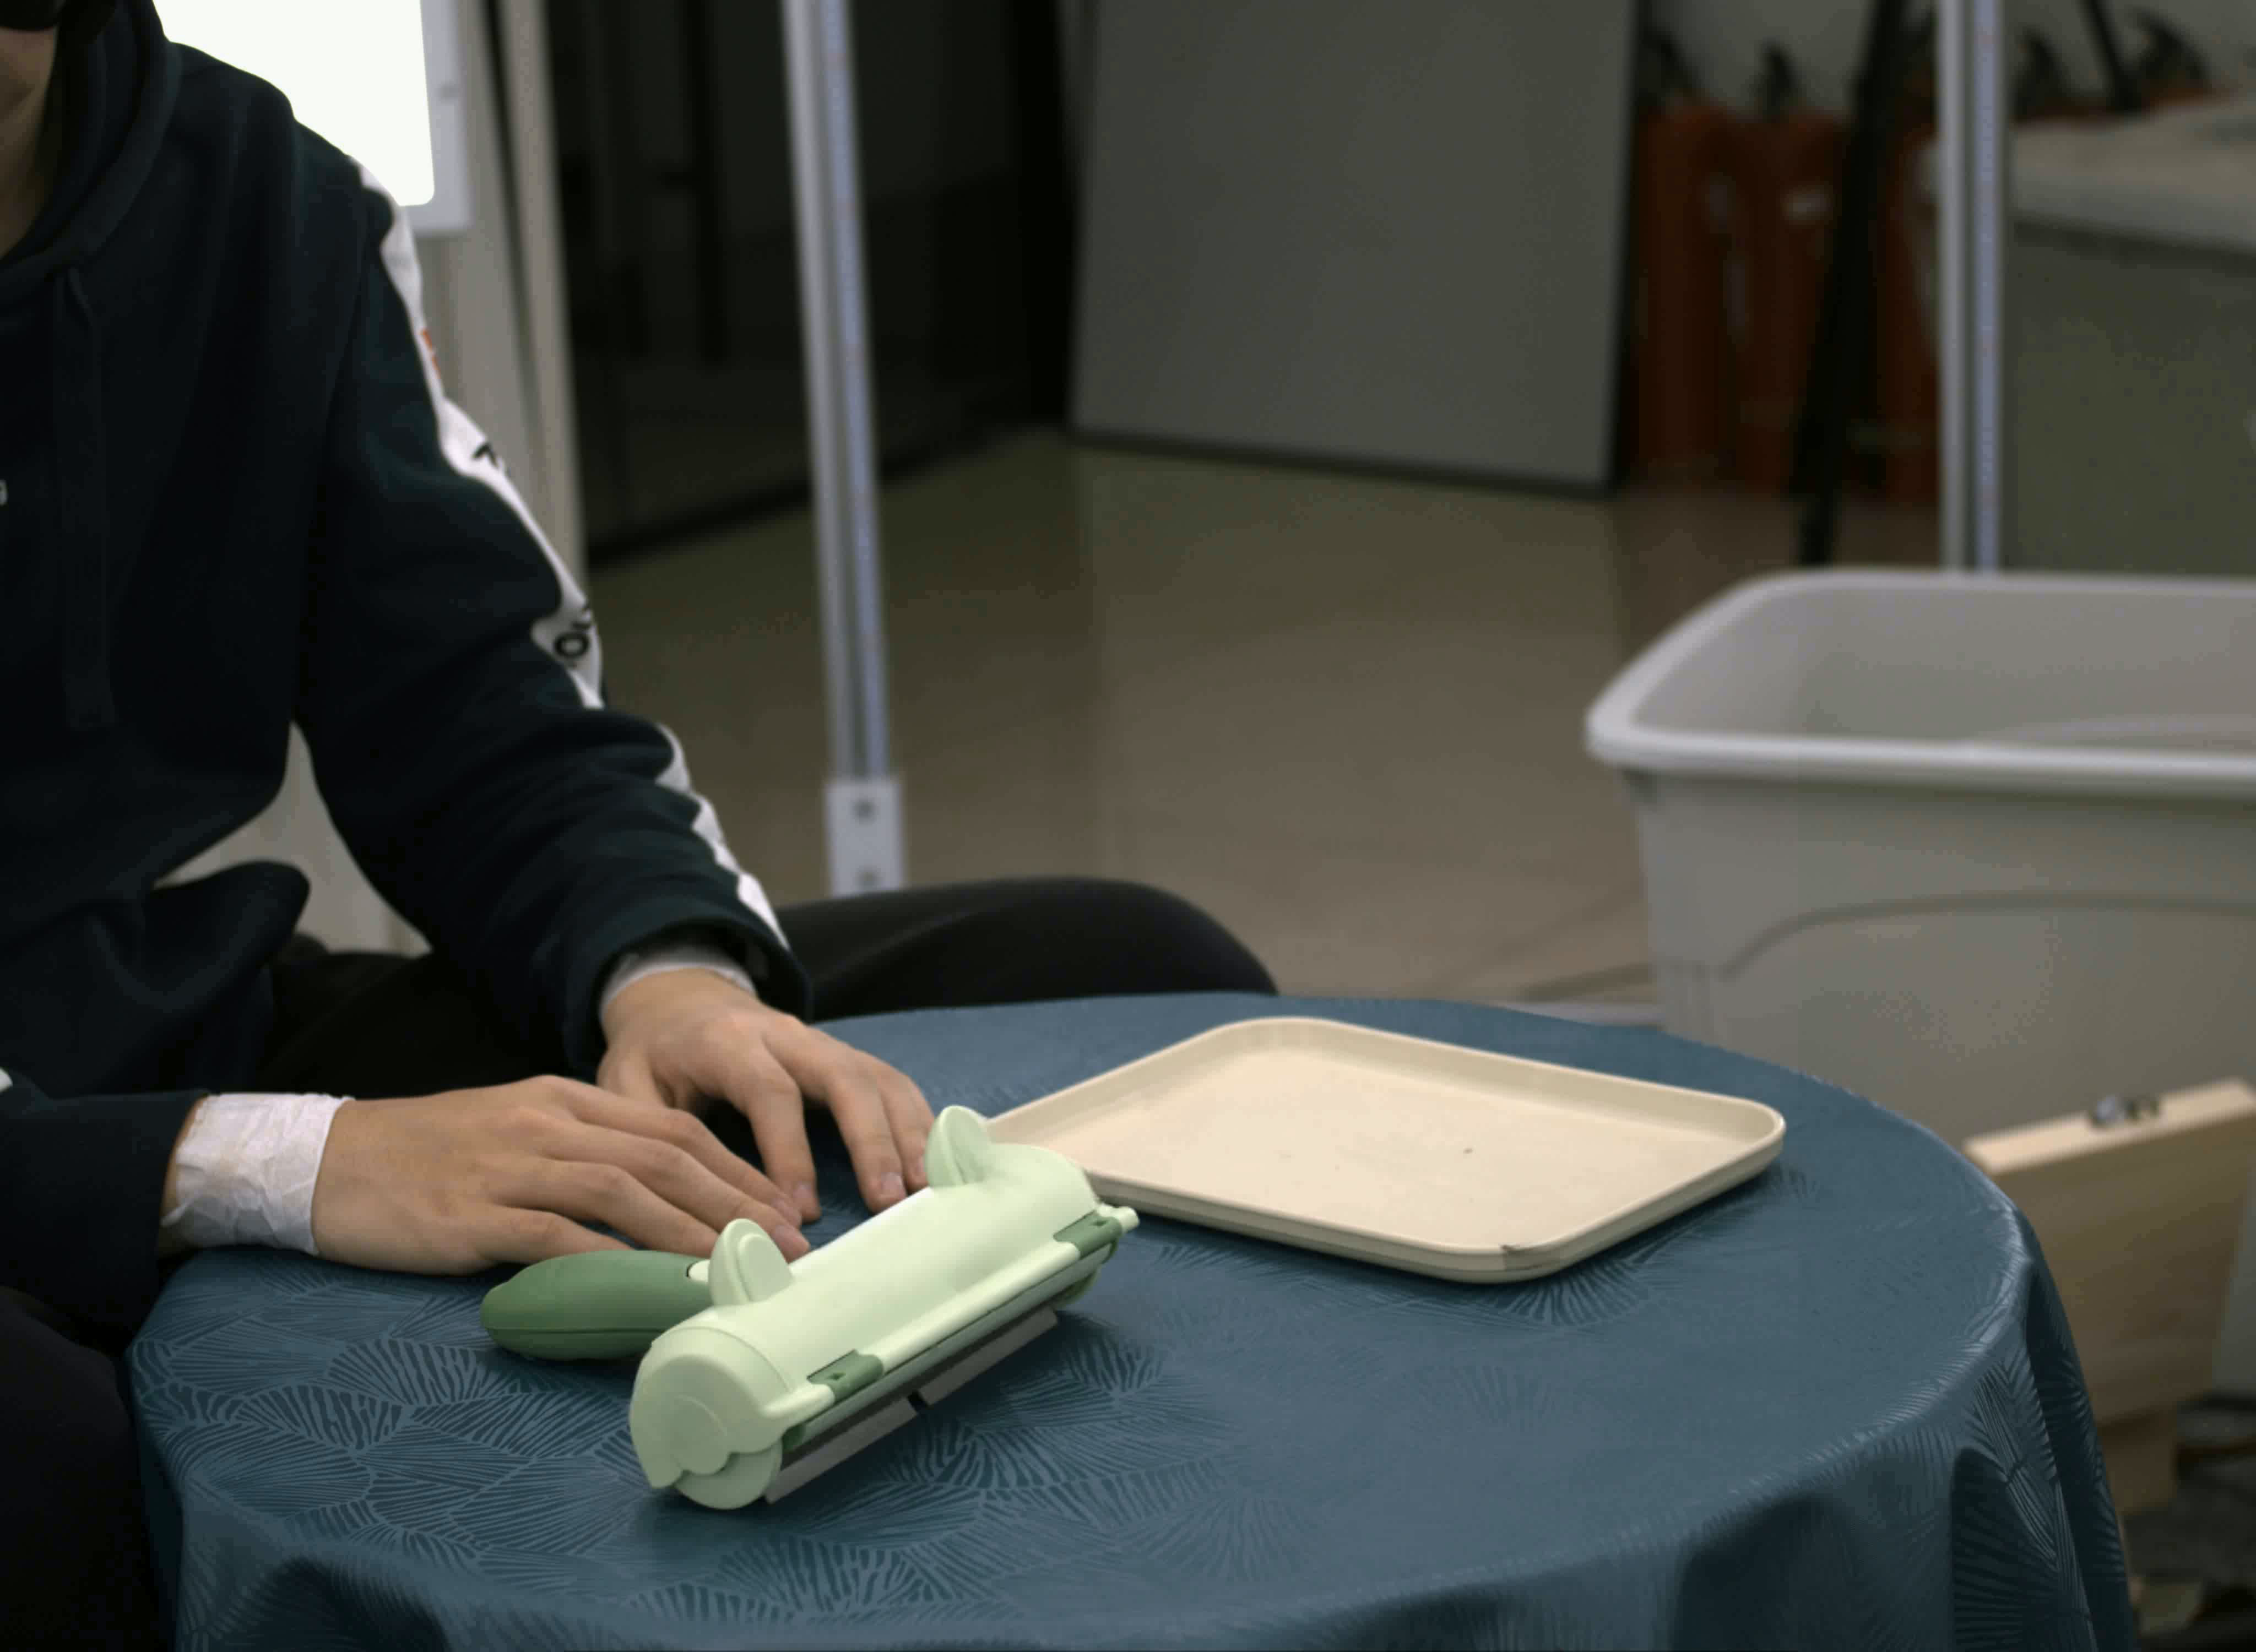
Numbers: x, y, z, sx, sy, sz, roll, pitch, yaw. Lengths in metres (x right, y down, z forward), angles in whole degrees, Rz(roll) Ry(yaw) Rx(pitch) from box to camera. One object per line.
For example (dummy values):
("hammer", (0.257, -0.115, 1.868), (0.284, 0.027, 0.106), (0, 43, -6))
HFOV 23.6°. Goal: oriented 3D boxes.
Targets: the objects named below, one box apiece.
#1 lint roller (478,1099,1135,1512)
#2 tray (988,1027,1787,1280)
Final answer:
("lint roller", (-0.120, 0.130, 1.609), (0.184, 0.083, 0.195), (9, 19, 30))
("tray", (0.084, 0.107, 1.768), (0.241, 0.017, 0.168), (8, 18, 41))
